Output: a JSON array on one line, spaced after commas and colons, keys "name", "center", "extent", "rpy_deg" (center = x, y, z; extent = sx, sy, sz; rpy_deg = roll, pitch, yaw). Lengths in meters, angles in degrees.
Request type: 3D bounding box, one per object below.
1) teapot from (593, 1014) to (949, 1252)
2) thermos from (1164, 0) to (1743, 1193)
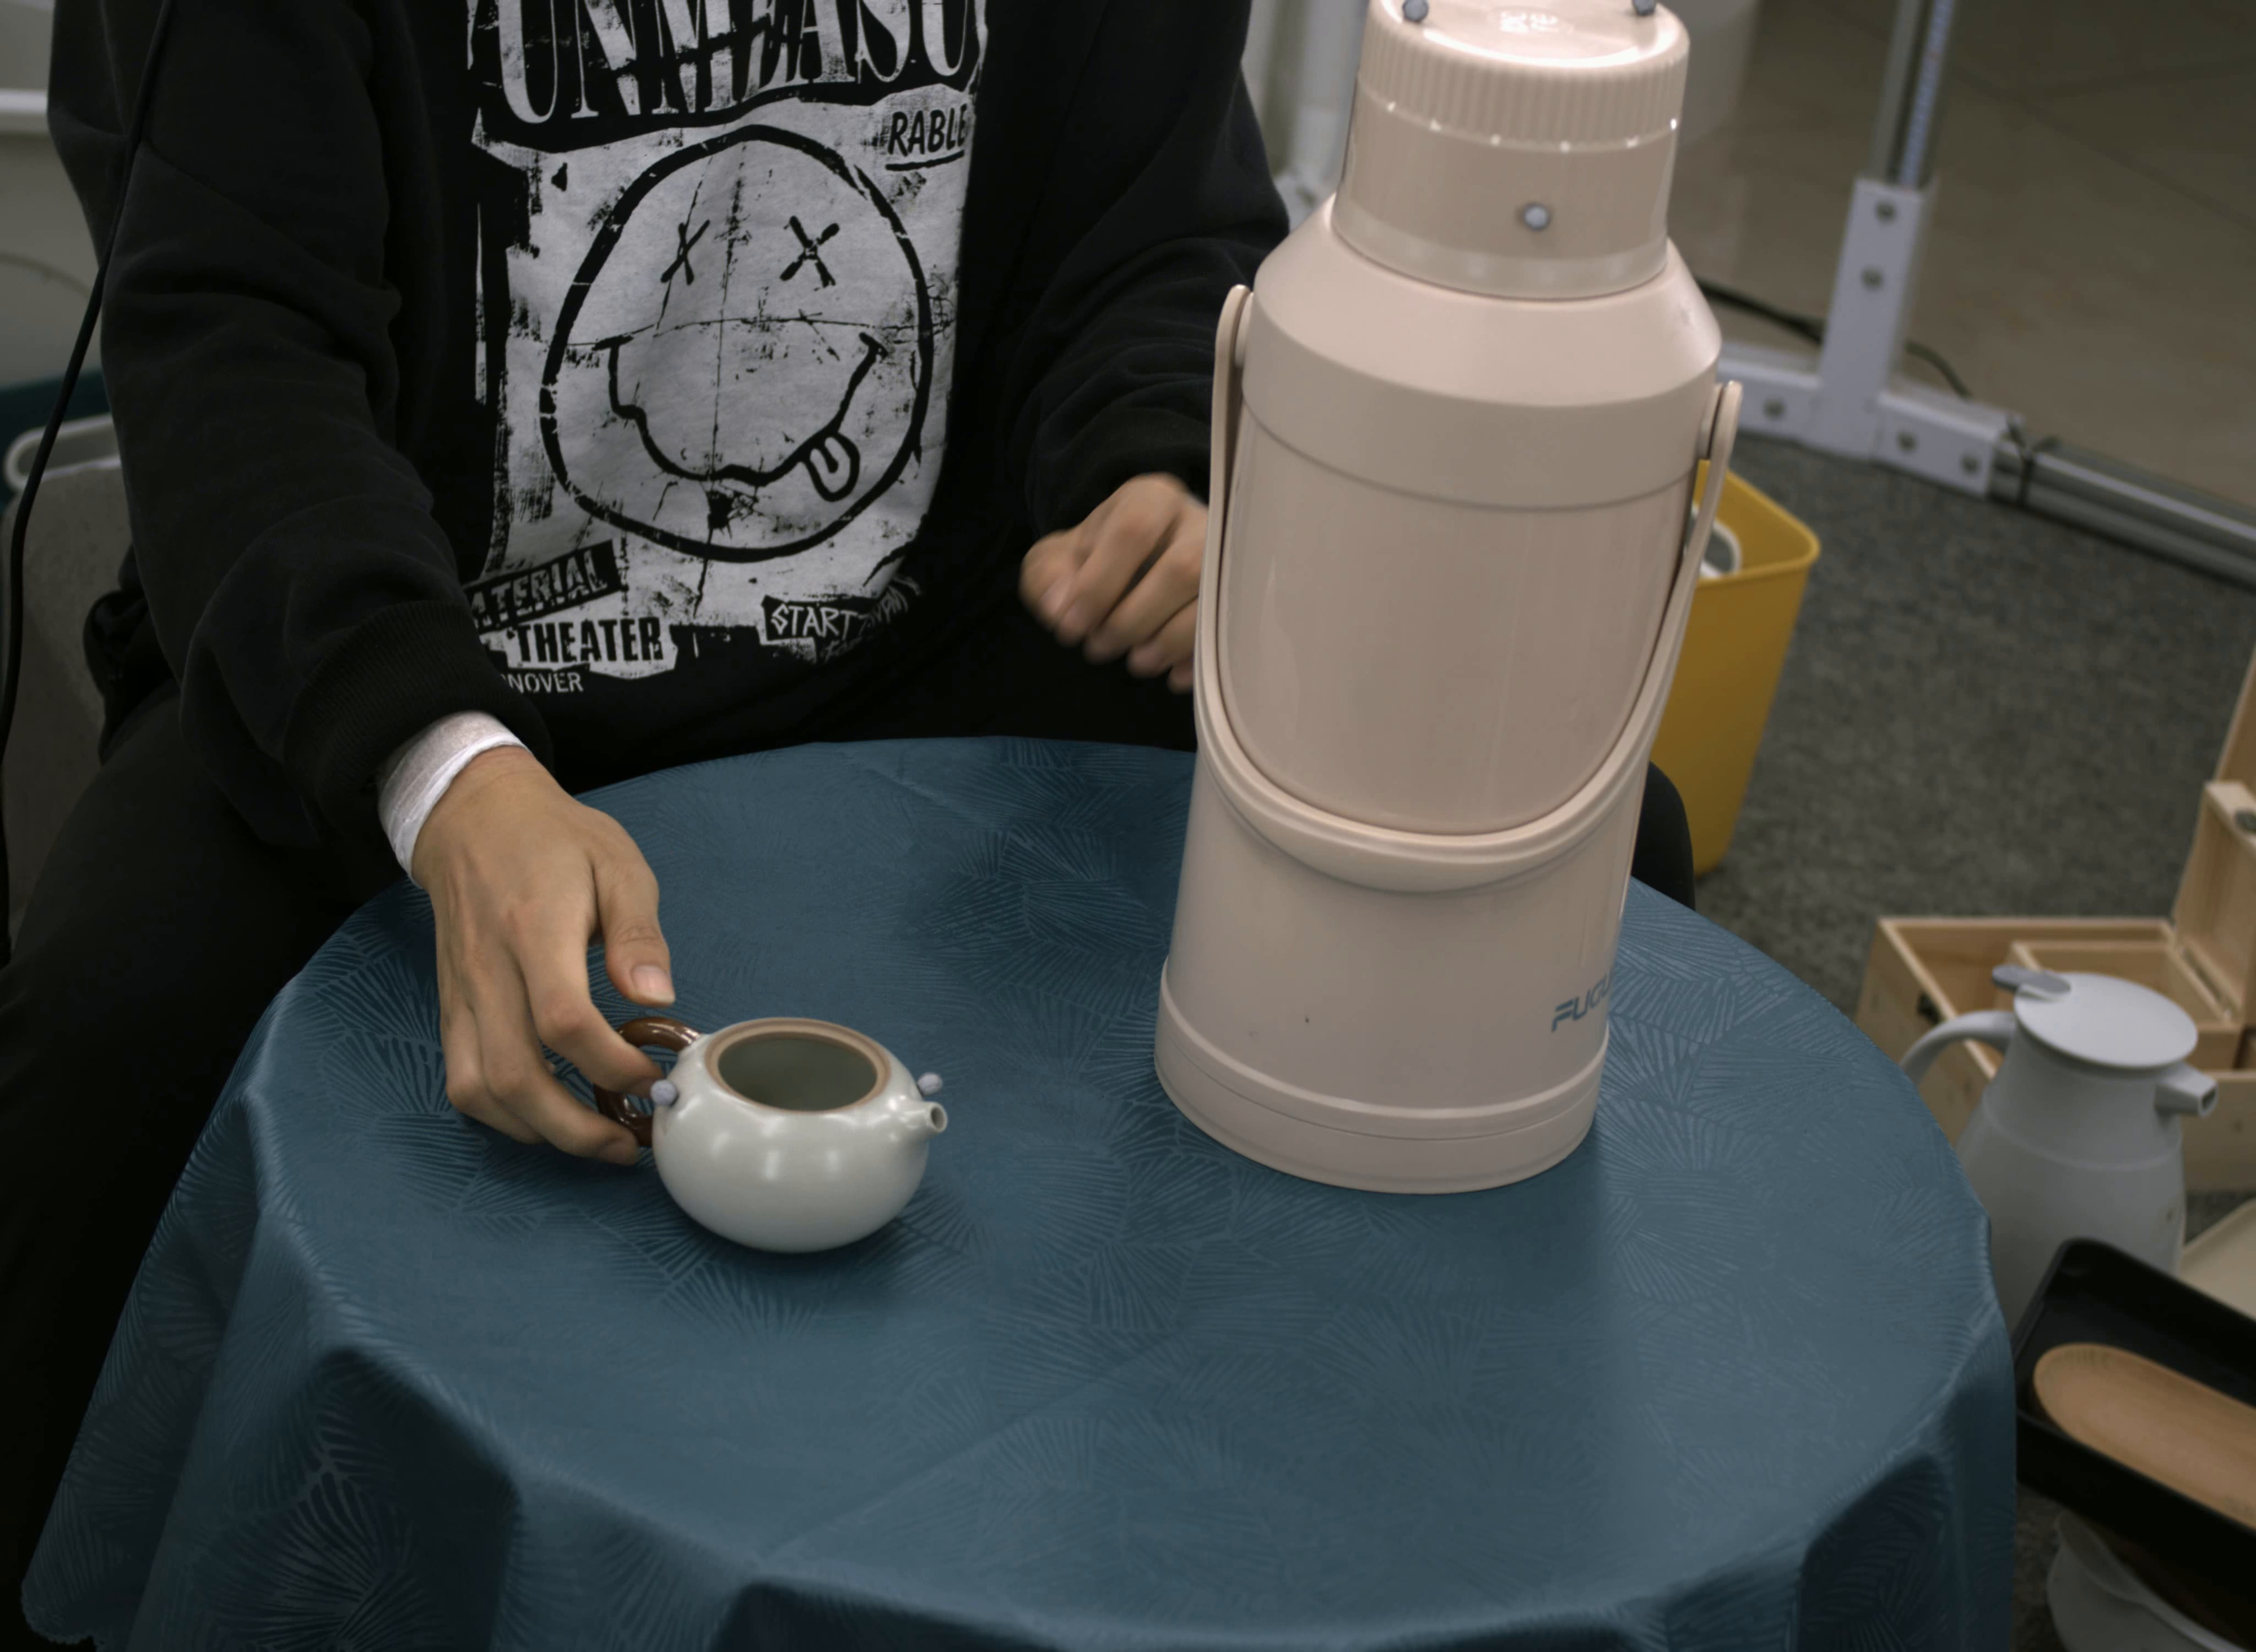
[{"name": "teapot", "center": [-0.120, 0.099, 1.762], "extent": [0.128, 0.059, 0.092], "rpy_deg": [17, 31, 17]}, {"name": "thermos", "center": [0.114, -0.091, 1.816], "extent": [0.175, 0.405, 0.207], "rpy_deg": [10, 27, 10]}]
